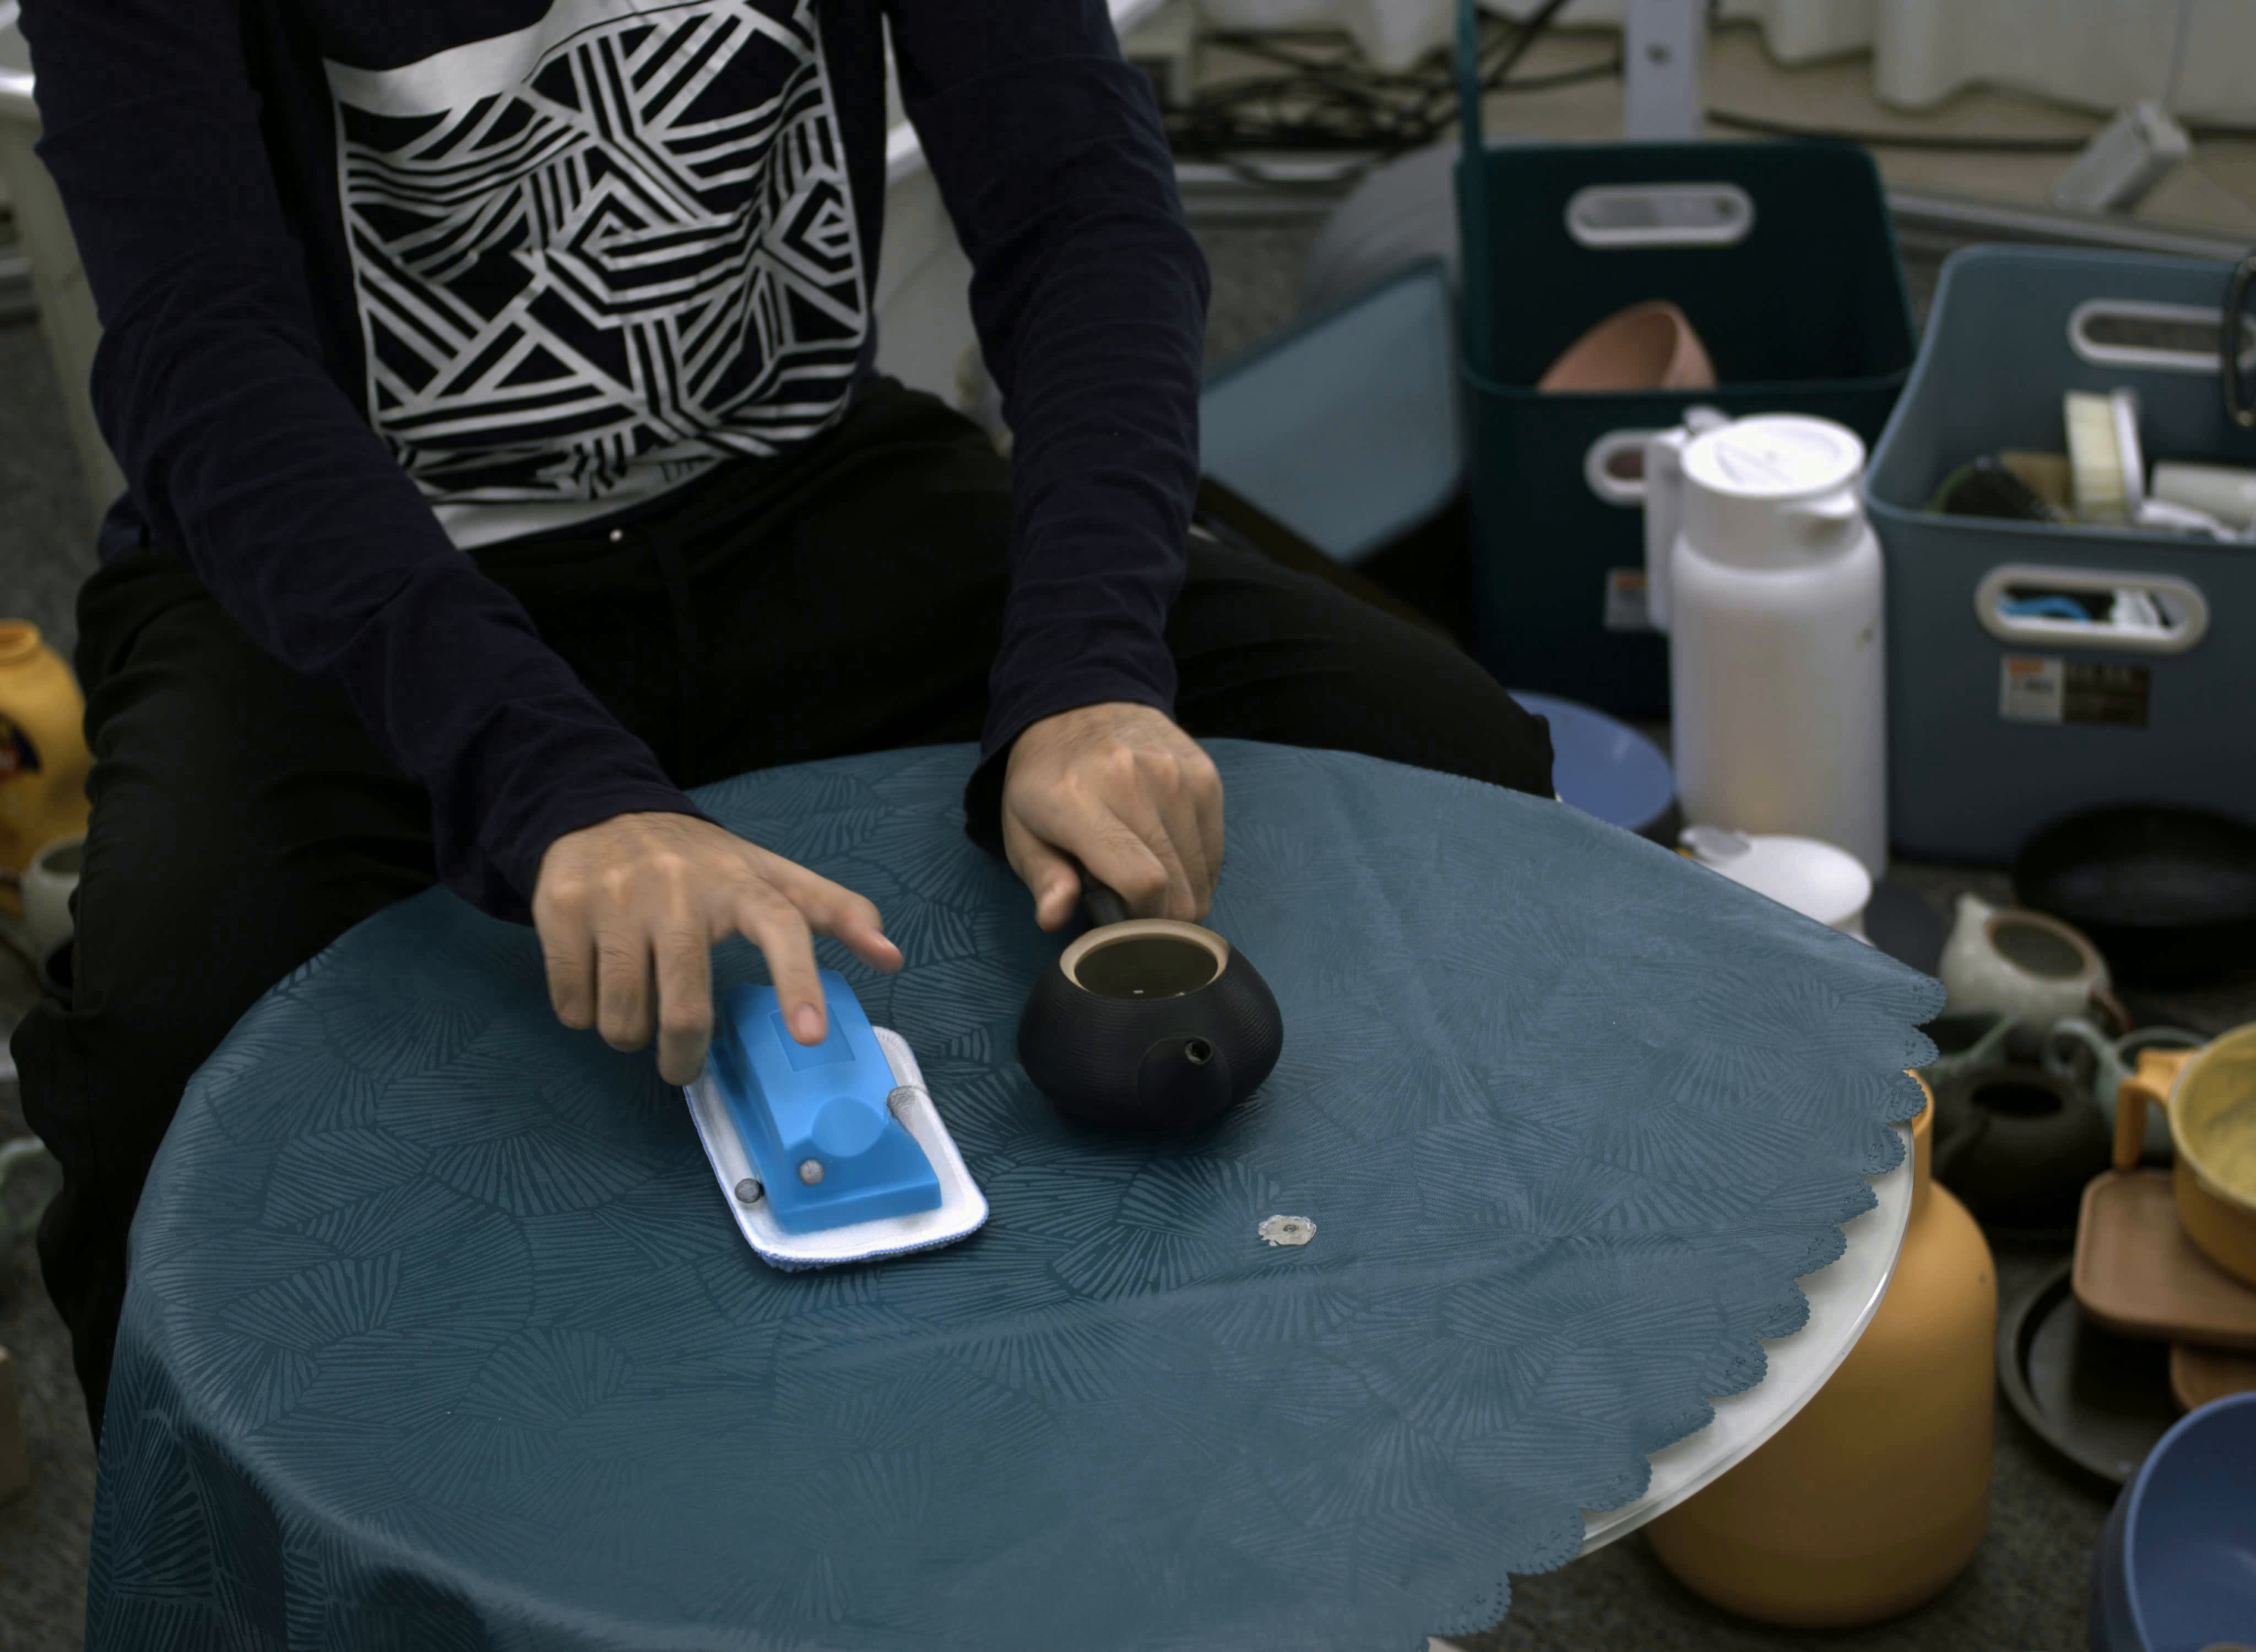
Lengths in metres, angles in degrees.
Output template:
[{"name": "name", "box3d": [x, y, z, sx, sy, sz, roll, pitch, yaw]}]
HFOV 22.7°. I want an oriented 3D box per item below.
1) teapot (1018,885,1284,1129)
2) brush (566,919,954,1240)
[{"name": "teapot", "box3d": [0.007, 0.067, 1.904, 0.091, 0.052, 0.134, -9, 28, -14]}, {"name": "brush", "box3d": [-0.118, 0.078, 1.855, 0.084, 0.055, 0.145, -11, 40, -37]}]
